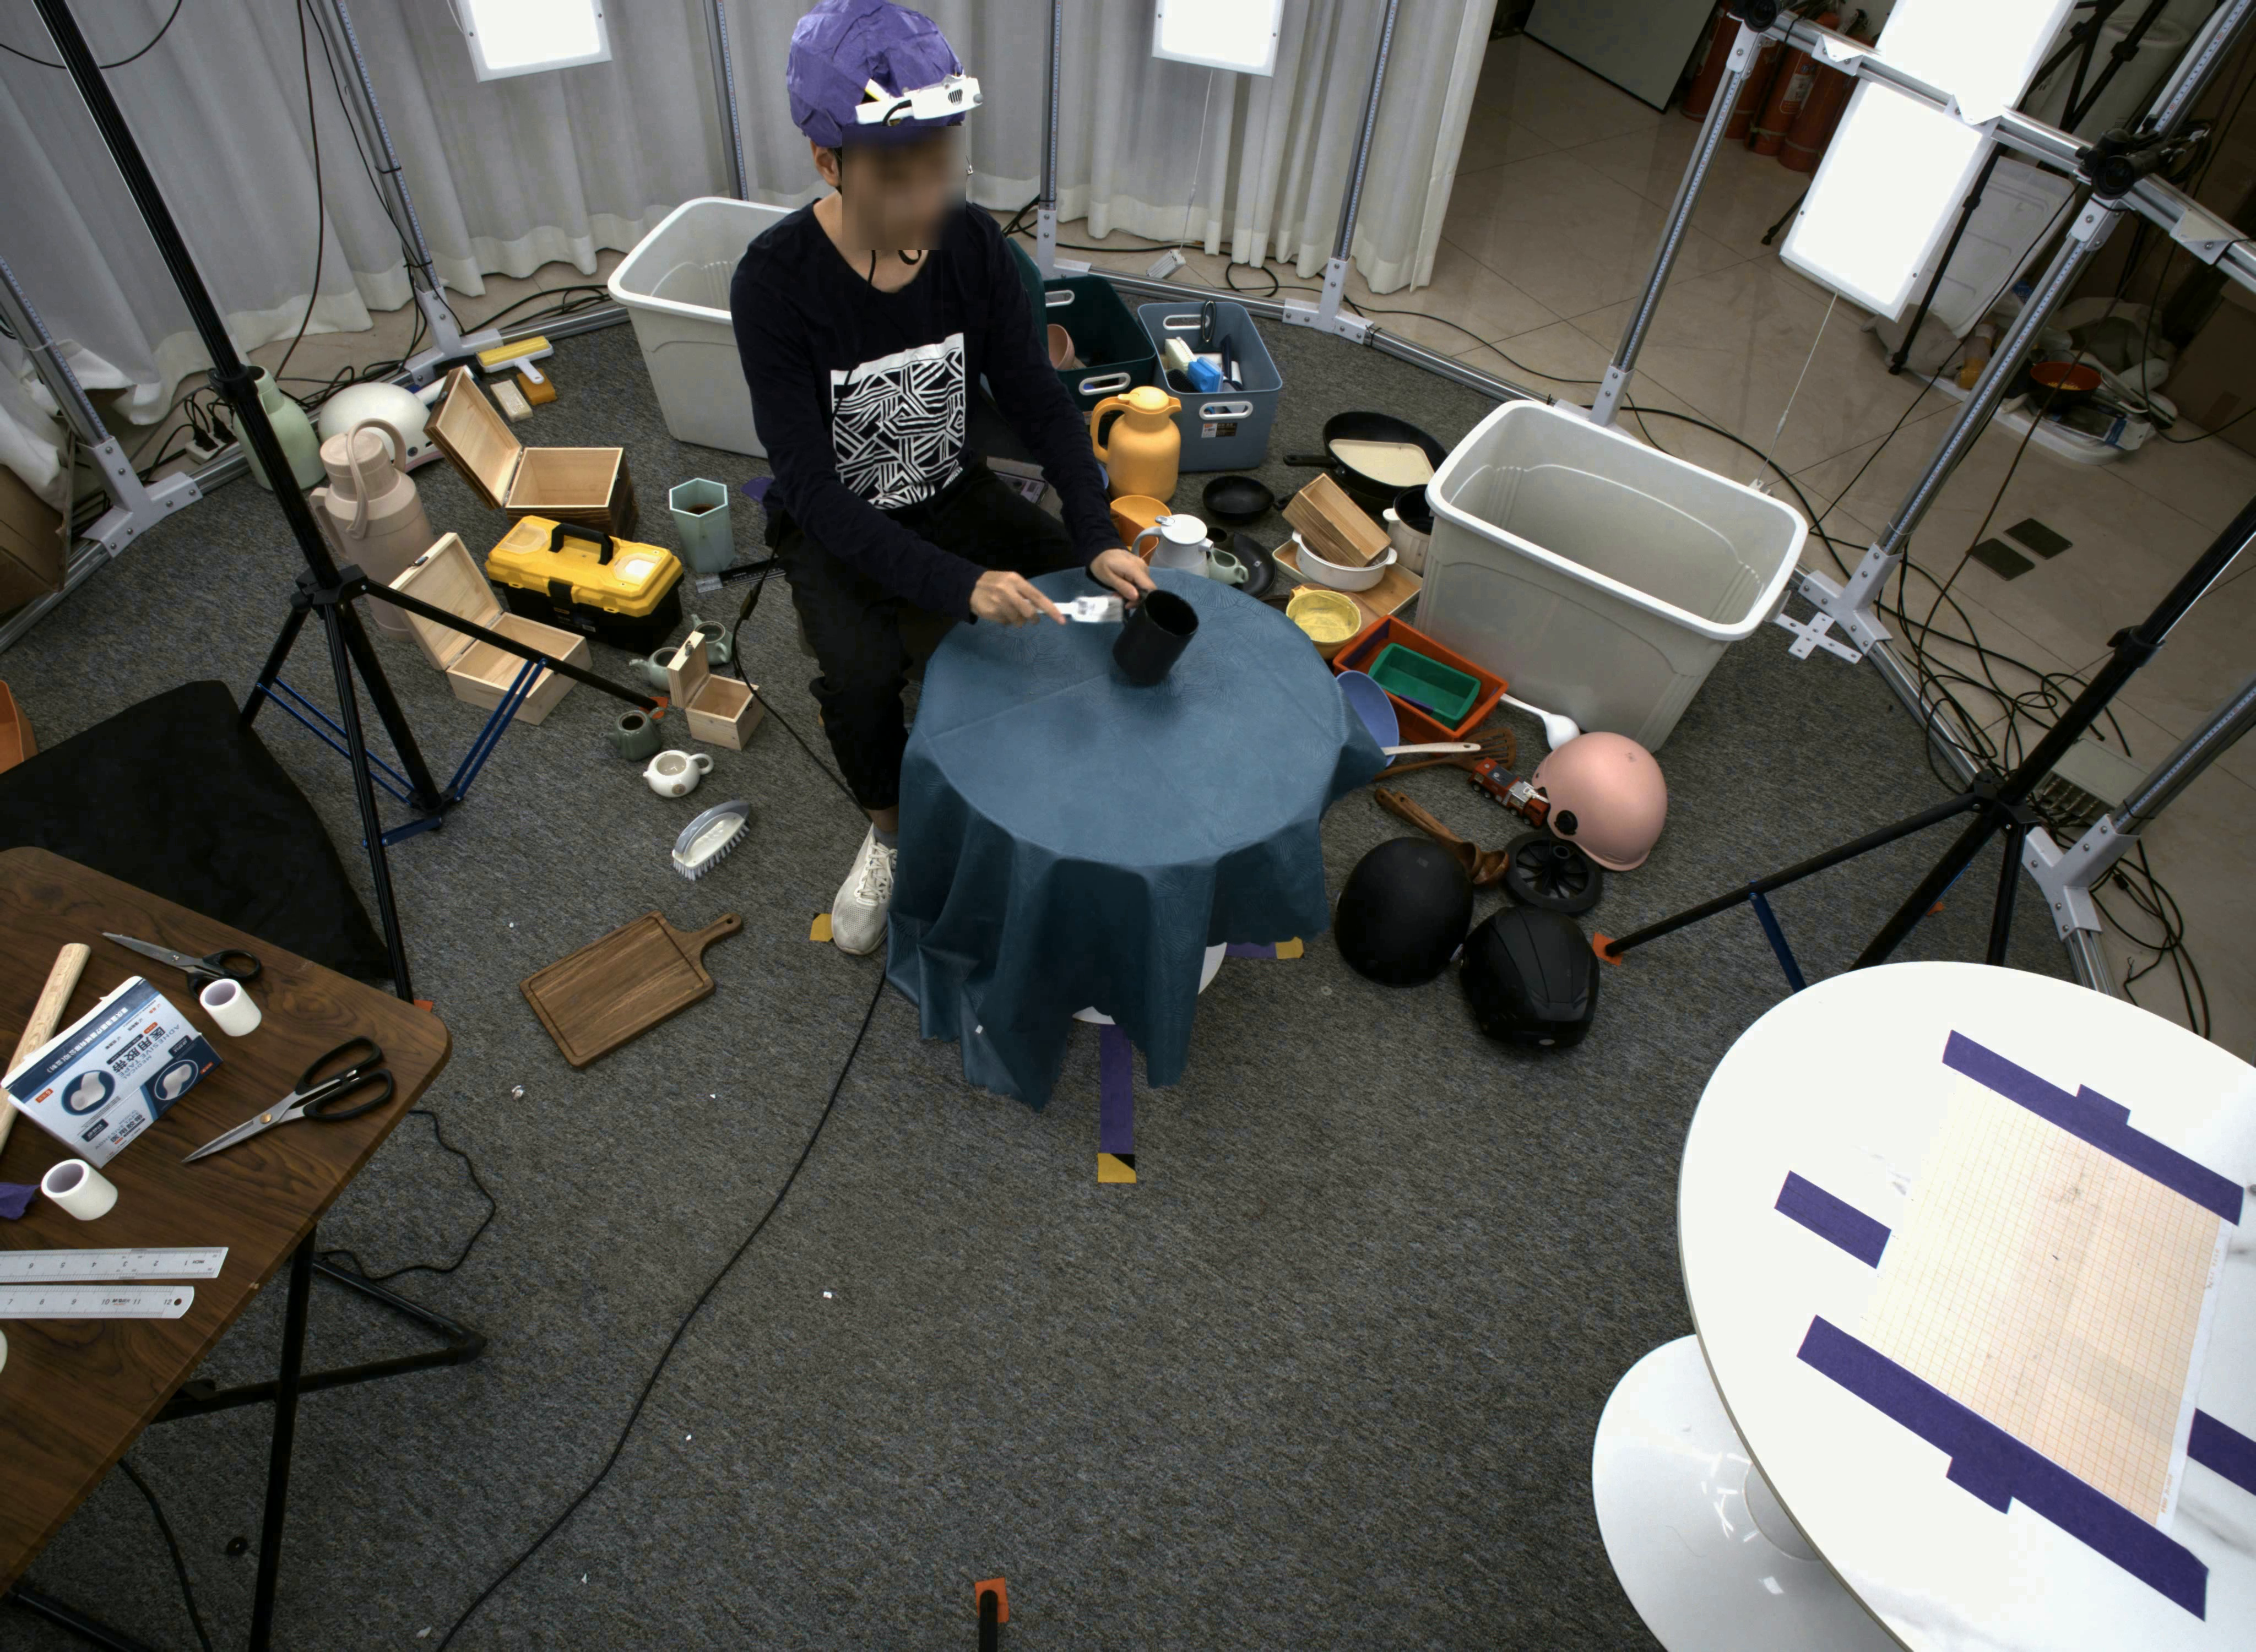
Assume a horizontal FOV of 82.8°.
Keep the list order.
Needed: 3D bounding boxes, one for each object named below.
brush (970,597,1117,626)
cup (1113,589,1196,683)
[{"bbox_3d":[-0.118,-0.300,1.799,0.245,0.034,0.050,6,19,36],"label":"brush"},{"bbox_3d":[0.029,-0.282,1.829,0.089,0.103,0.126,-14,60,-35],"label":"cup"}]
